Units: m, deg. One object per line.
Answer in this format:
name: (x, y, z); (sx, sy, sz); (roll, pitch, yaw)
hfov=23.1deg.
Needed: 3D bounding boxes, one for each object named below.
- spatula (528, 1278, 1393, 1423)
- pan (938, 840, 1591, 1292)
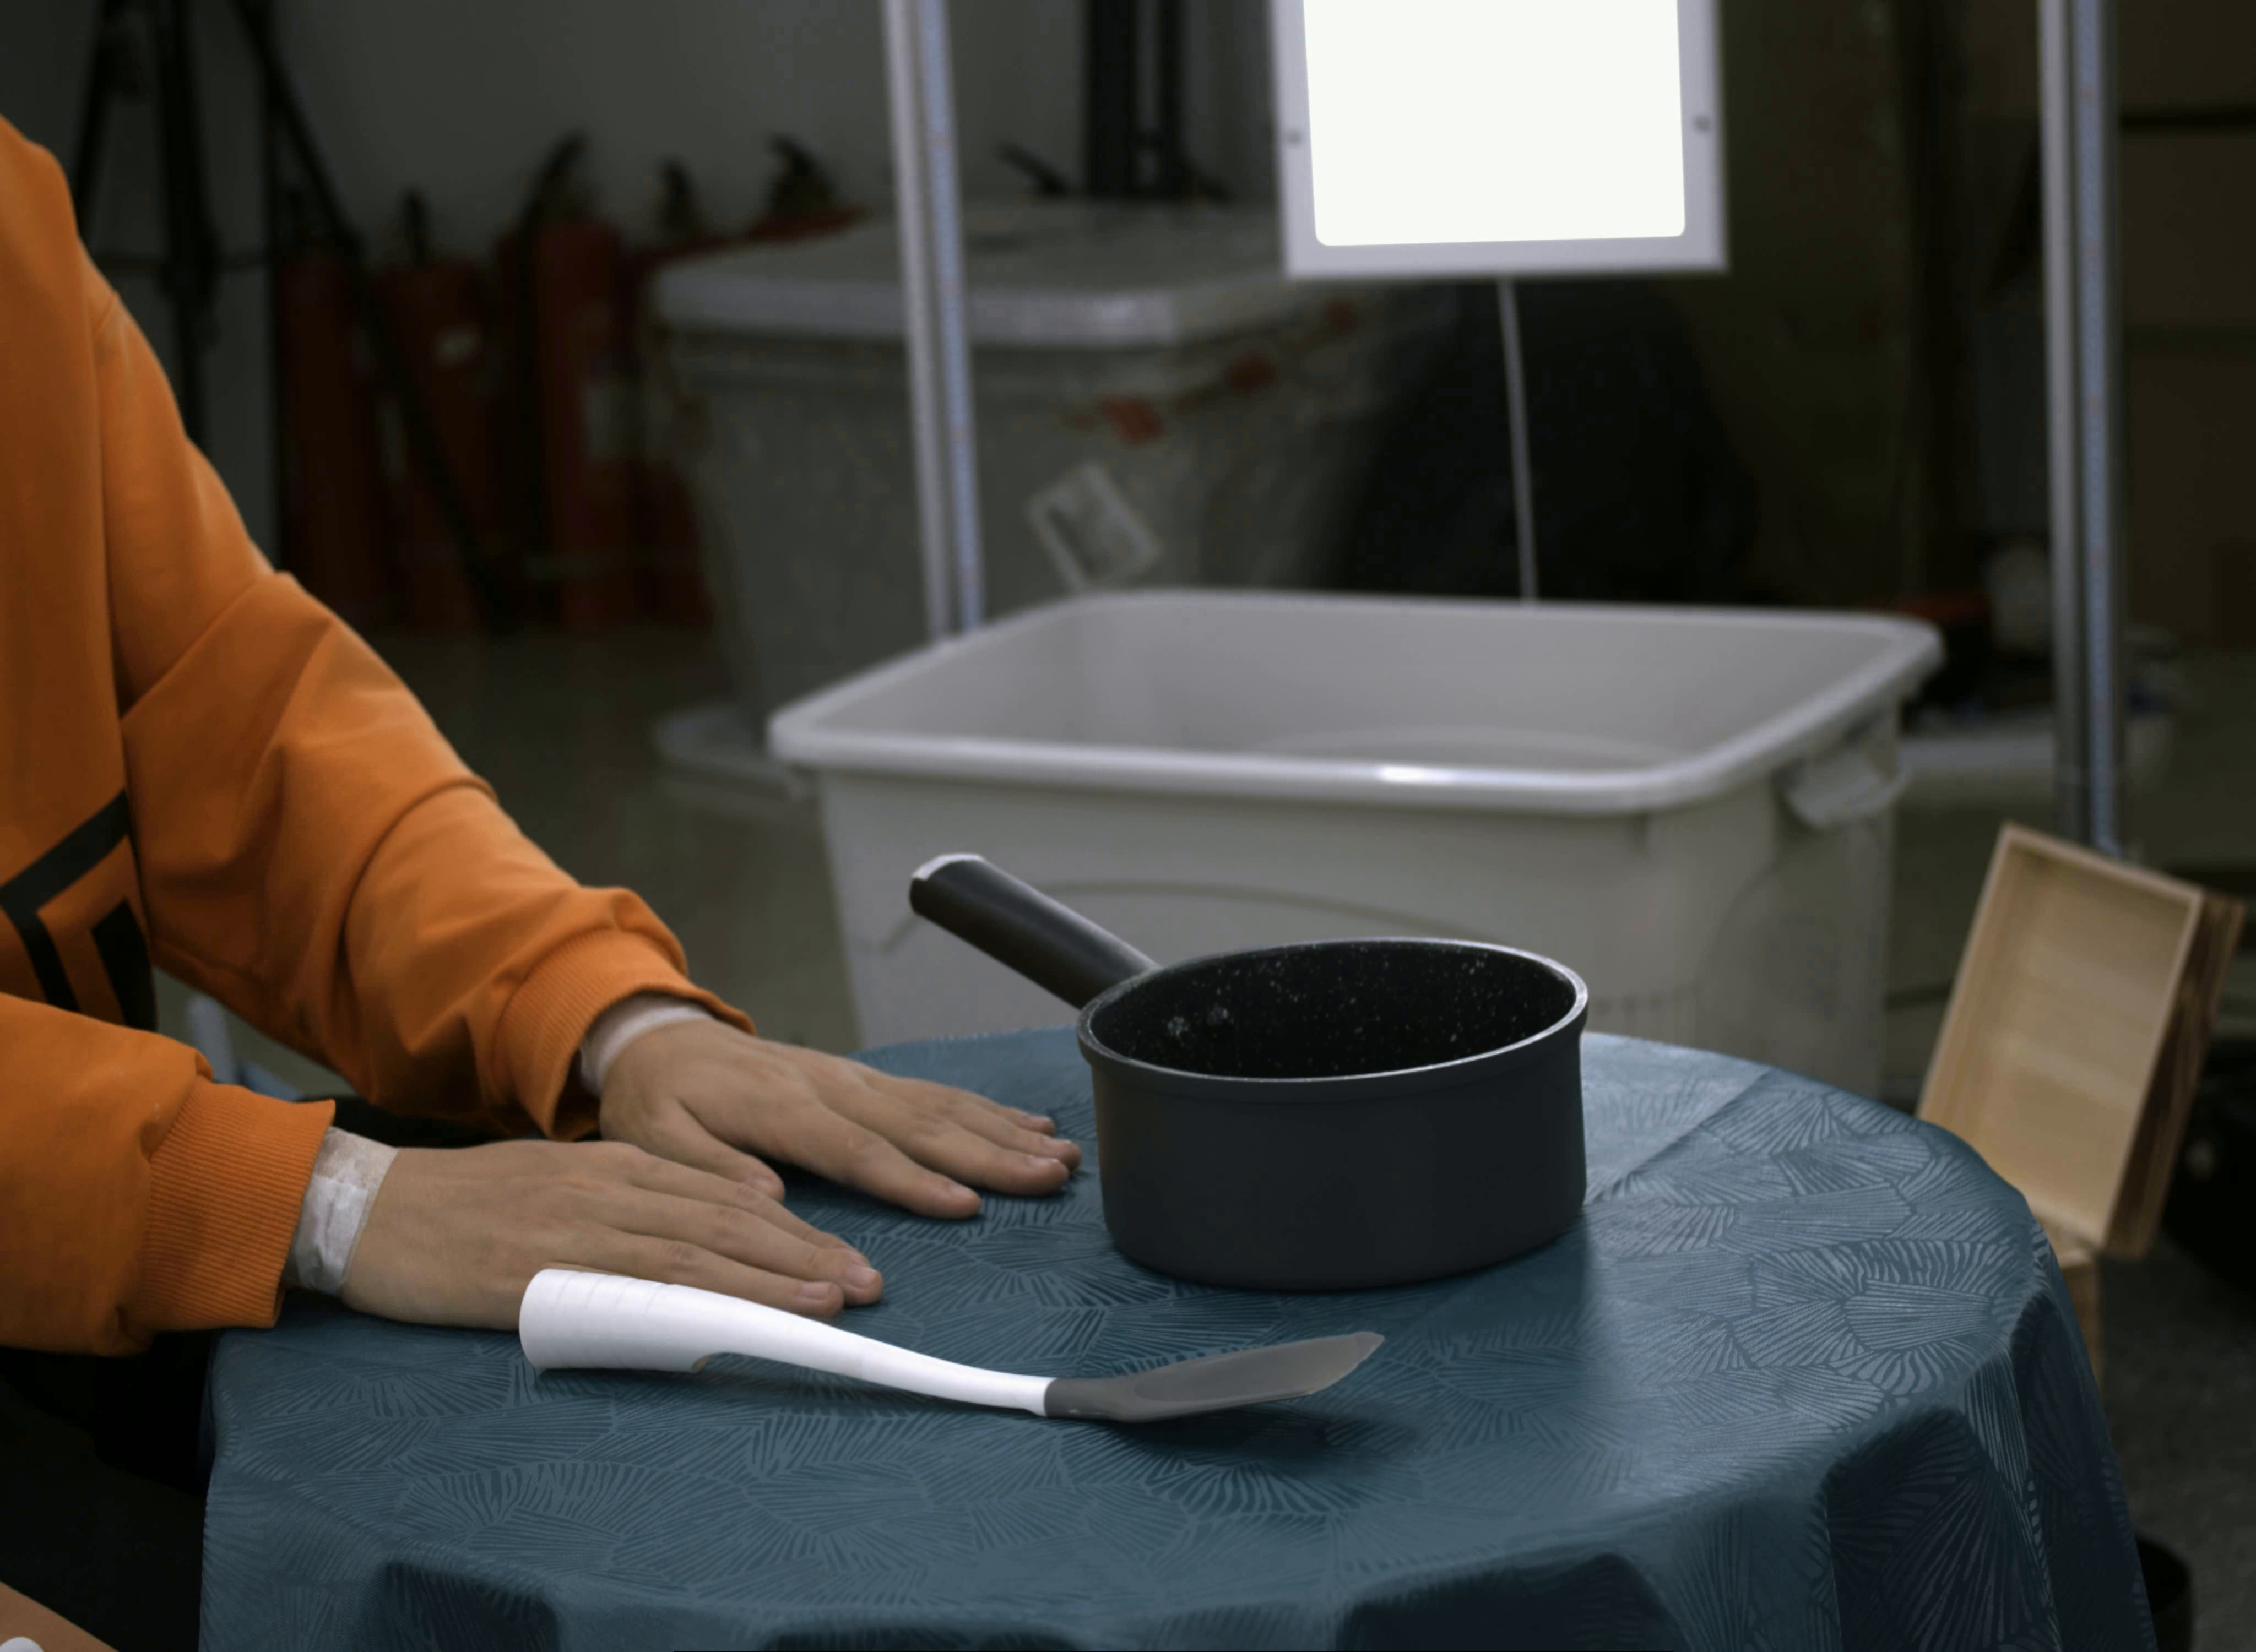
spatula: (-0.055, 0.164, 1.700); (0.292, 0.032, 0.057); (1, 12, 28)
pan: (0.028, 0.078, 1.904); (0.168, 0.087, 0.335); (-12, 17, -29)
